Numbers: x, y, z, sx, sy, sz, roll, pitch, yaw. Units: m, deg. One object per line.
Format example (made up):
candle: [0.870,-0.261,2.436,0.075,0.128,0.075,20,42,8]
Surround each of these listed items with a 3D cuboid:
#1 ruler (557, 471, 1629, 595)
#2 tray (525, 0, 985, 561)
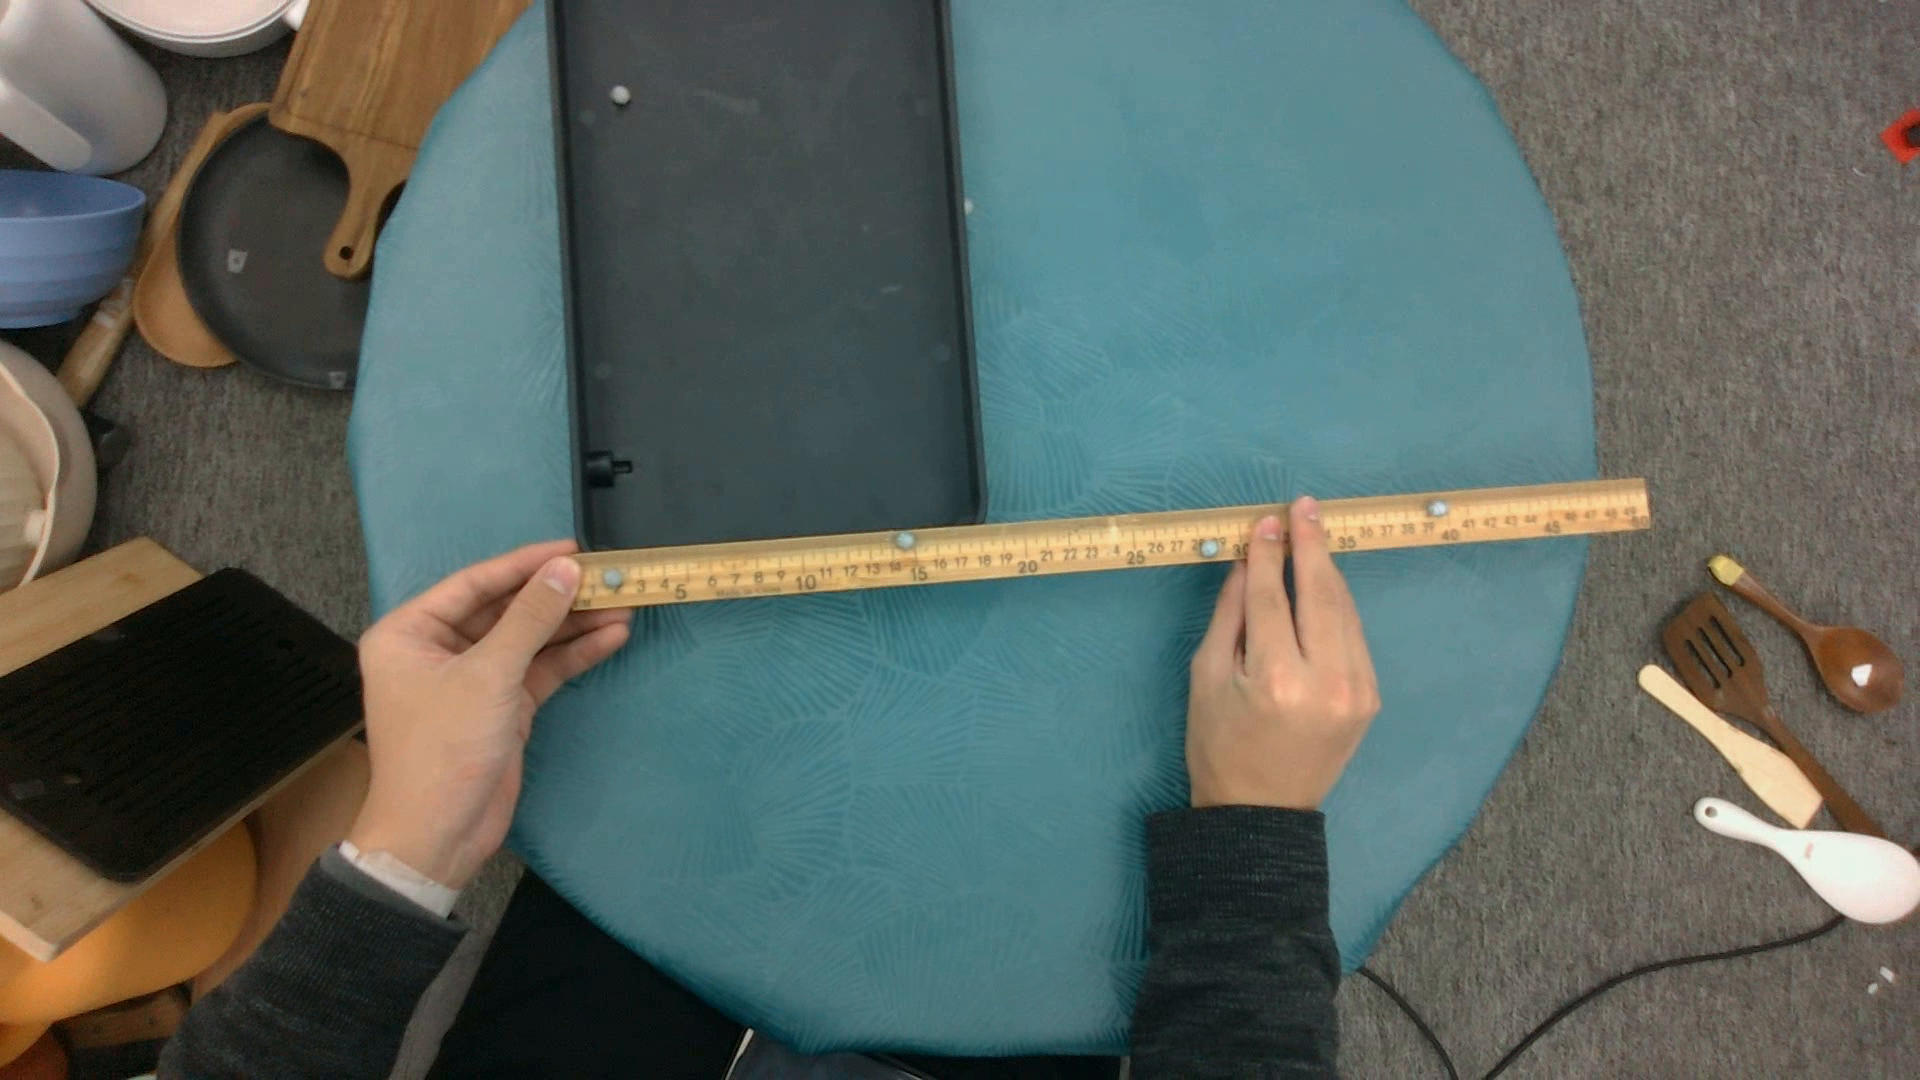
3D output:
ruler: [0.074,-0.004,0.629,0.501,0.006,0.027,-4,87,-8]
tray: [-0.097,-0.154,0.640,0.184,0.037,0.318,-6,86,-7]
